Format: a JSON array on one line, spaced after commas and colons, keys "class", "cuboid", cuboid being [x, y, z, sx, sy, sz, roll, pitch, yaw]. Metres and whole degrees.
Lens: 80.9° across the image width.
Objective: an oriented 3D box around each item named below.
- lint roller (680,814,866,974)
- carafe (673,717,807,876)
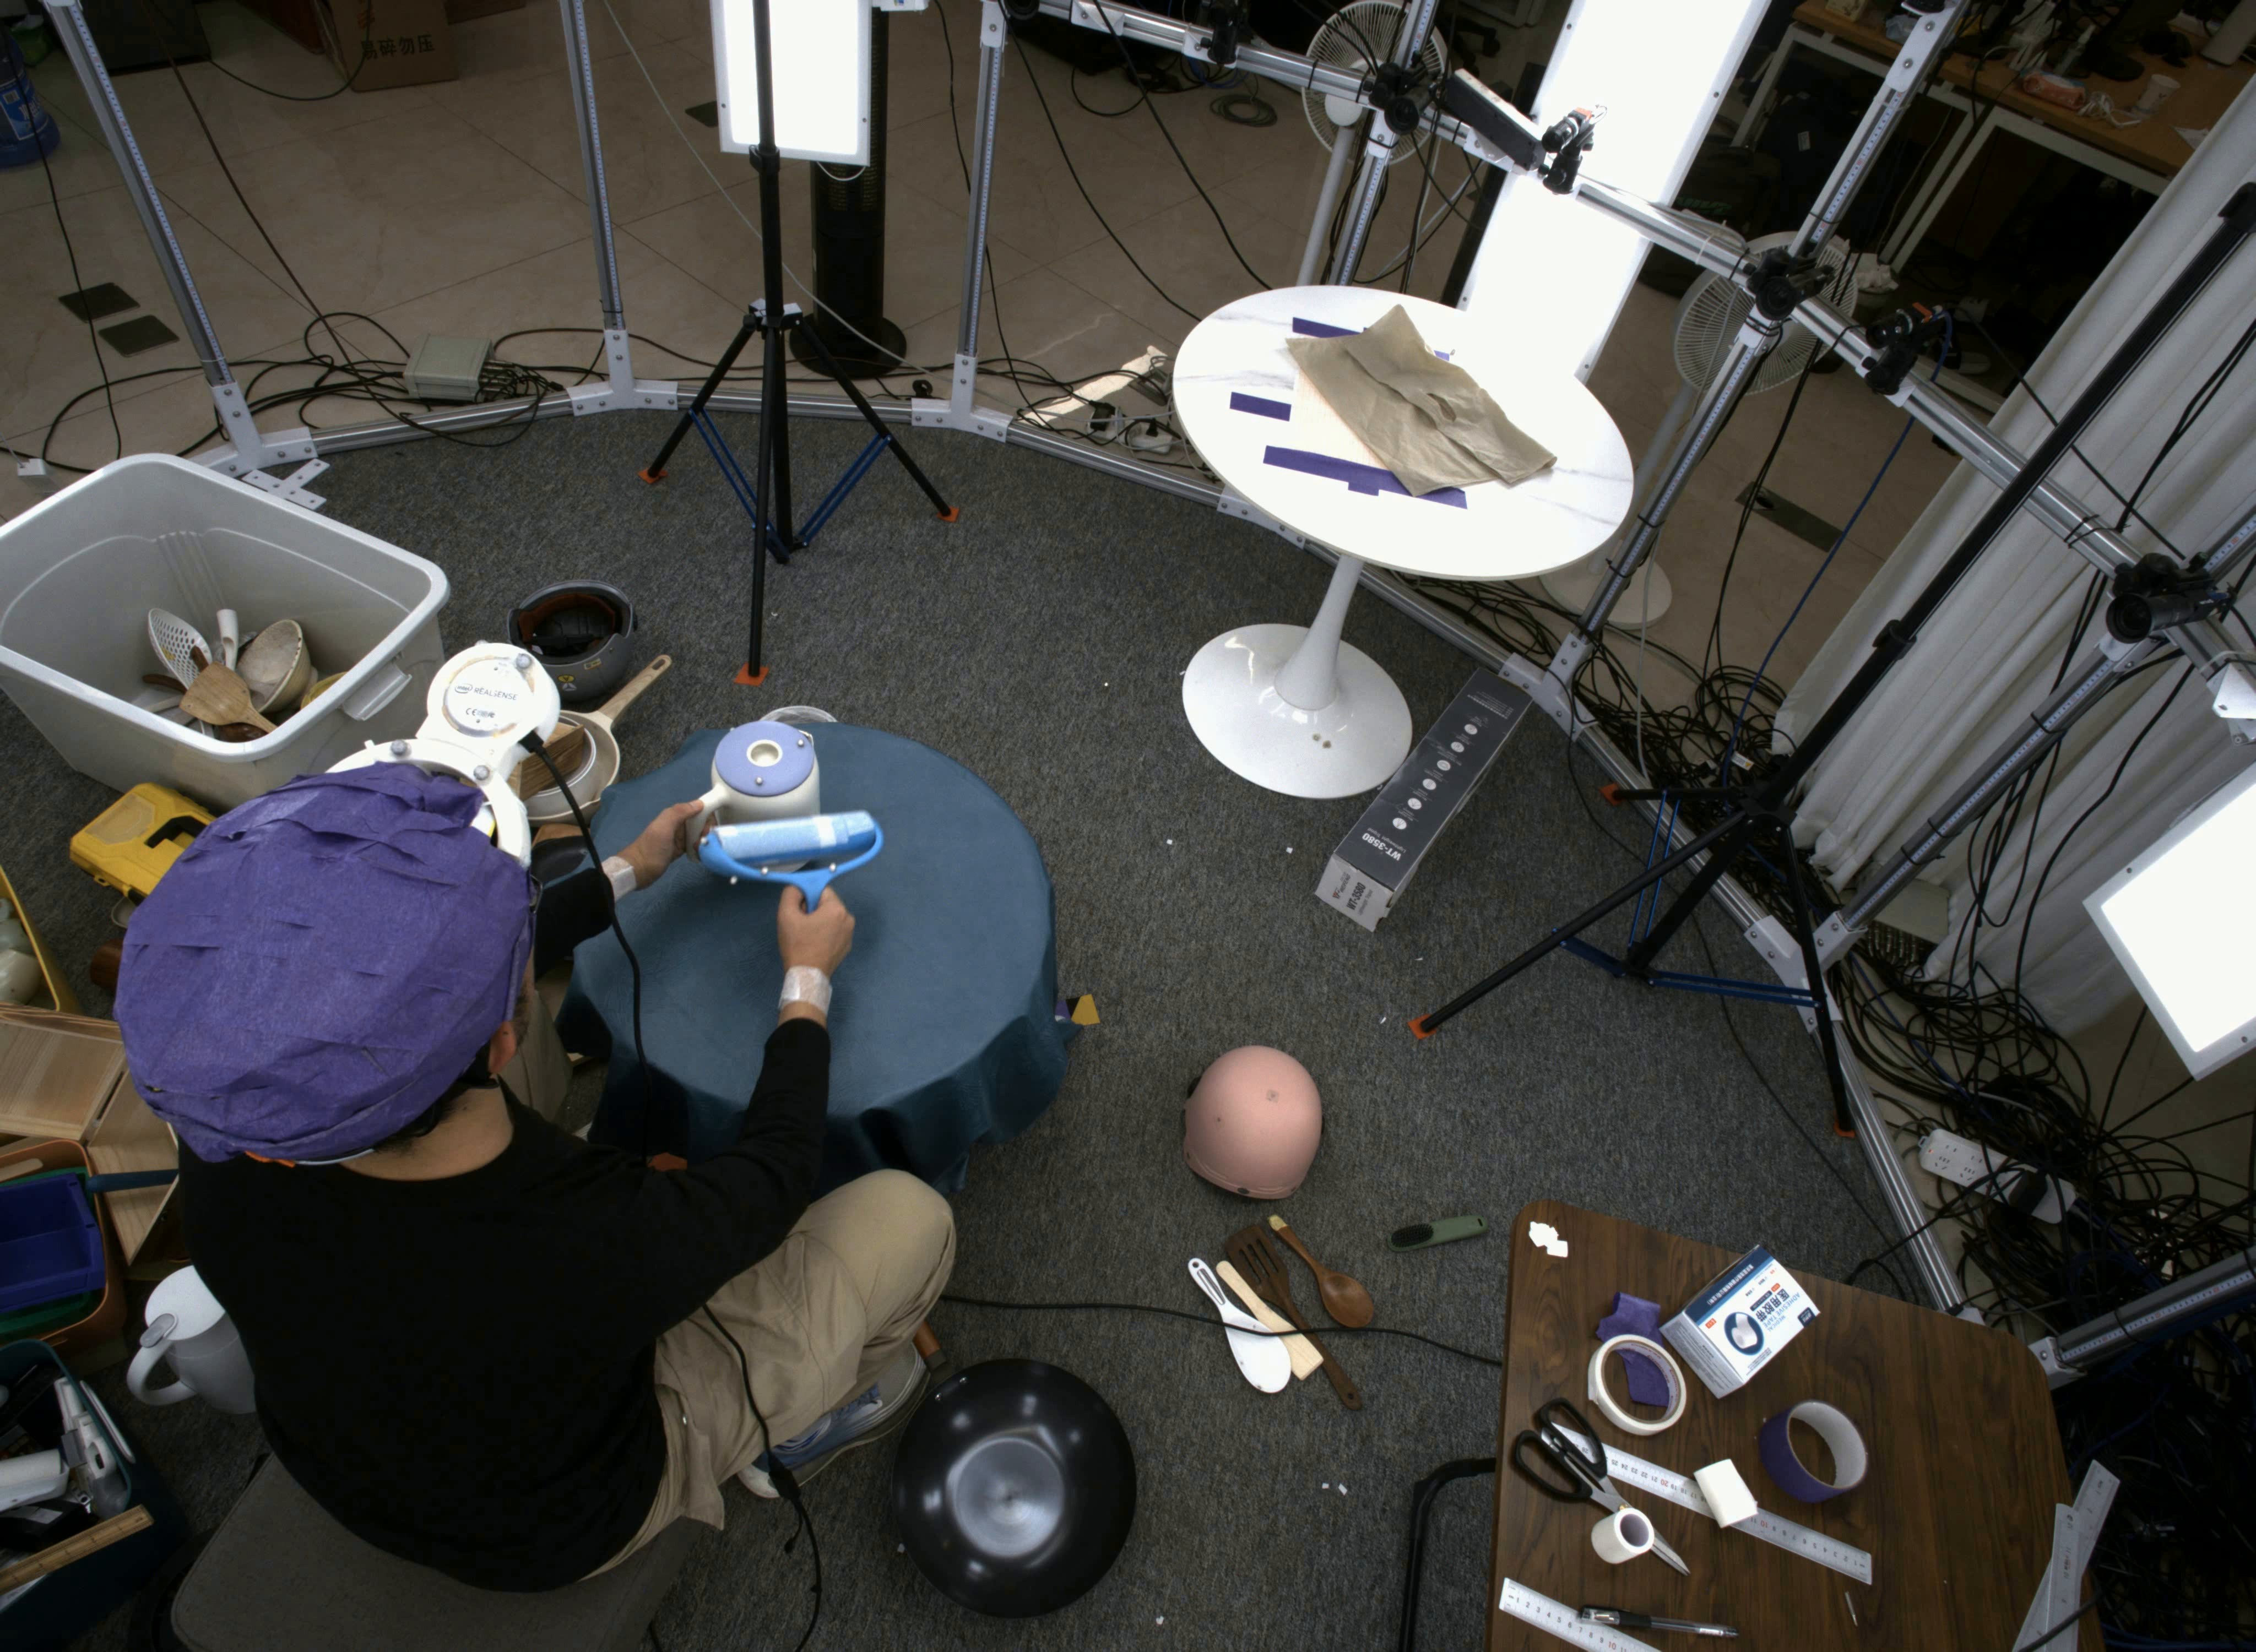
[{"class": "lint roller", "cuboid": [-0.400, 0.077, 1.529, 0.232, 0.067, 0.180, -10, 78, -43]}, {"class": "carafe", "cuboid": [-0.487, -0.022, 1.606, 0.129, 0.186, 0.191, 38, 56, 18]}]
